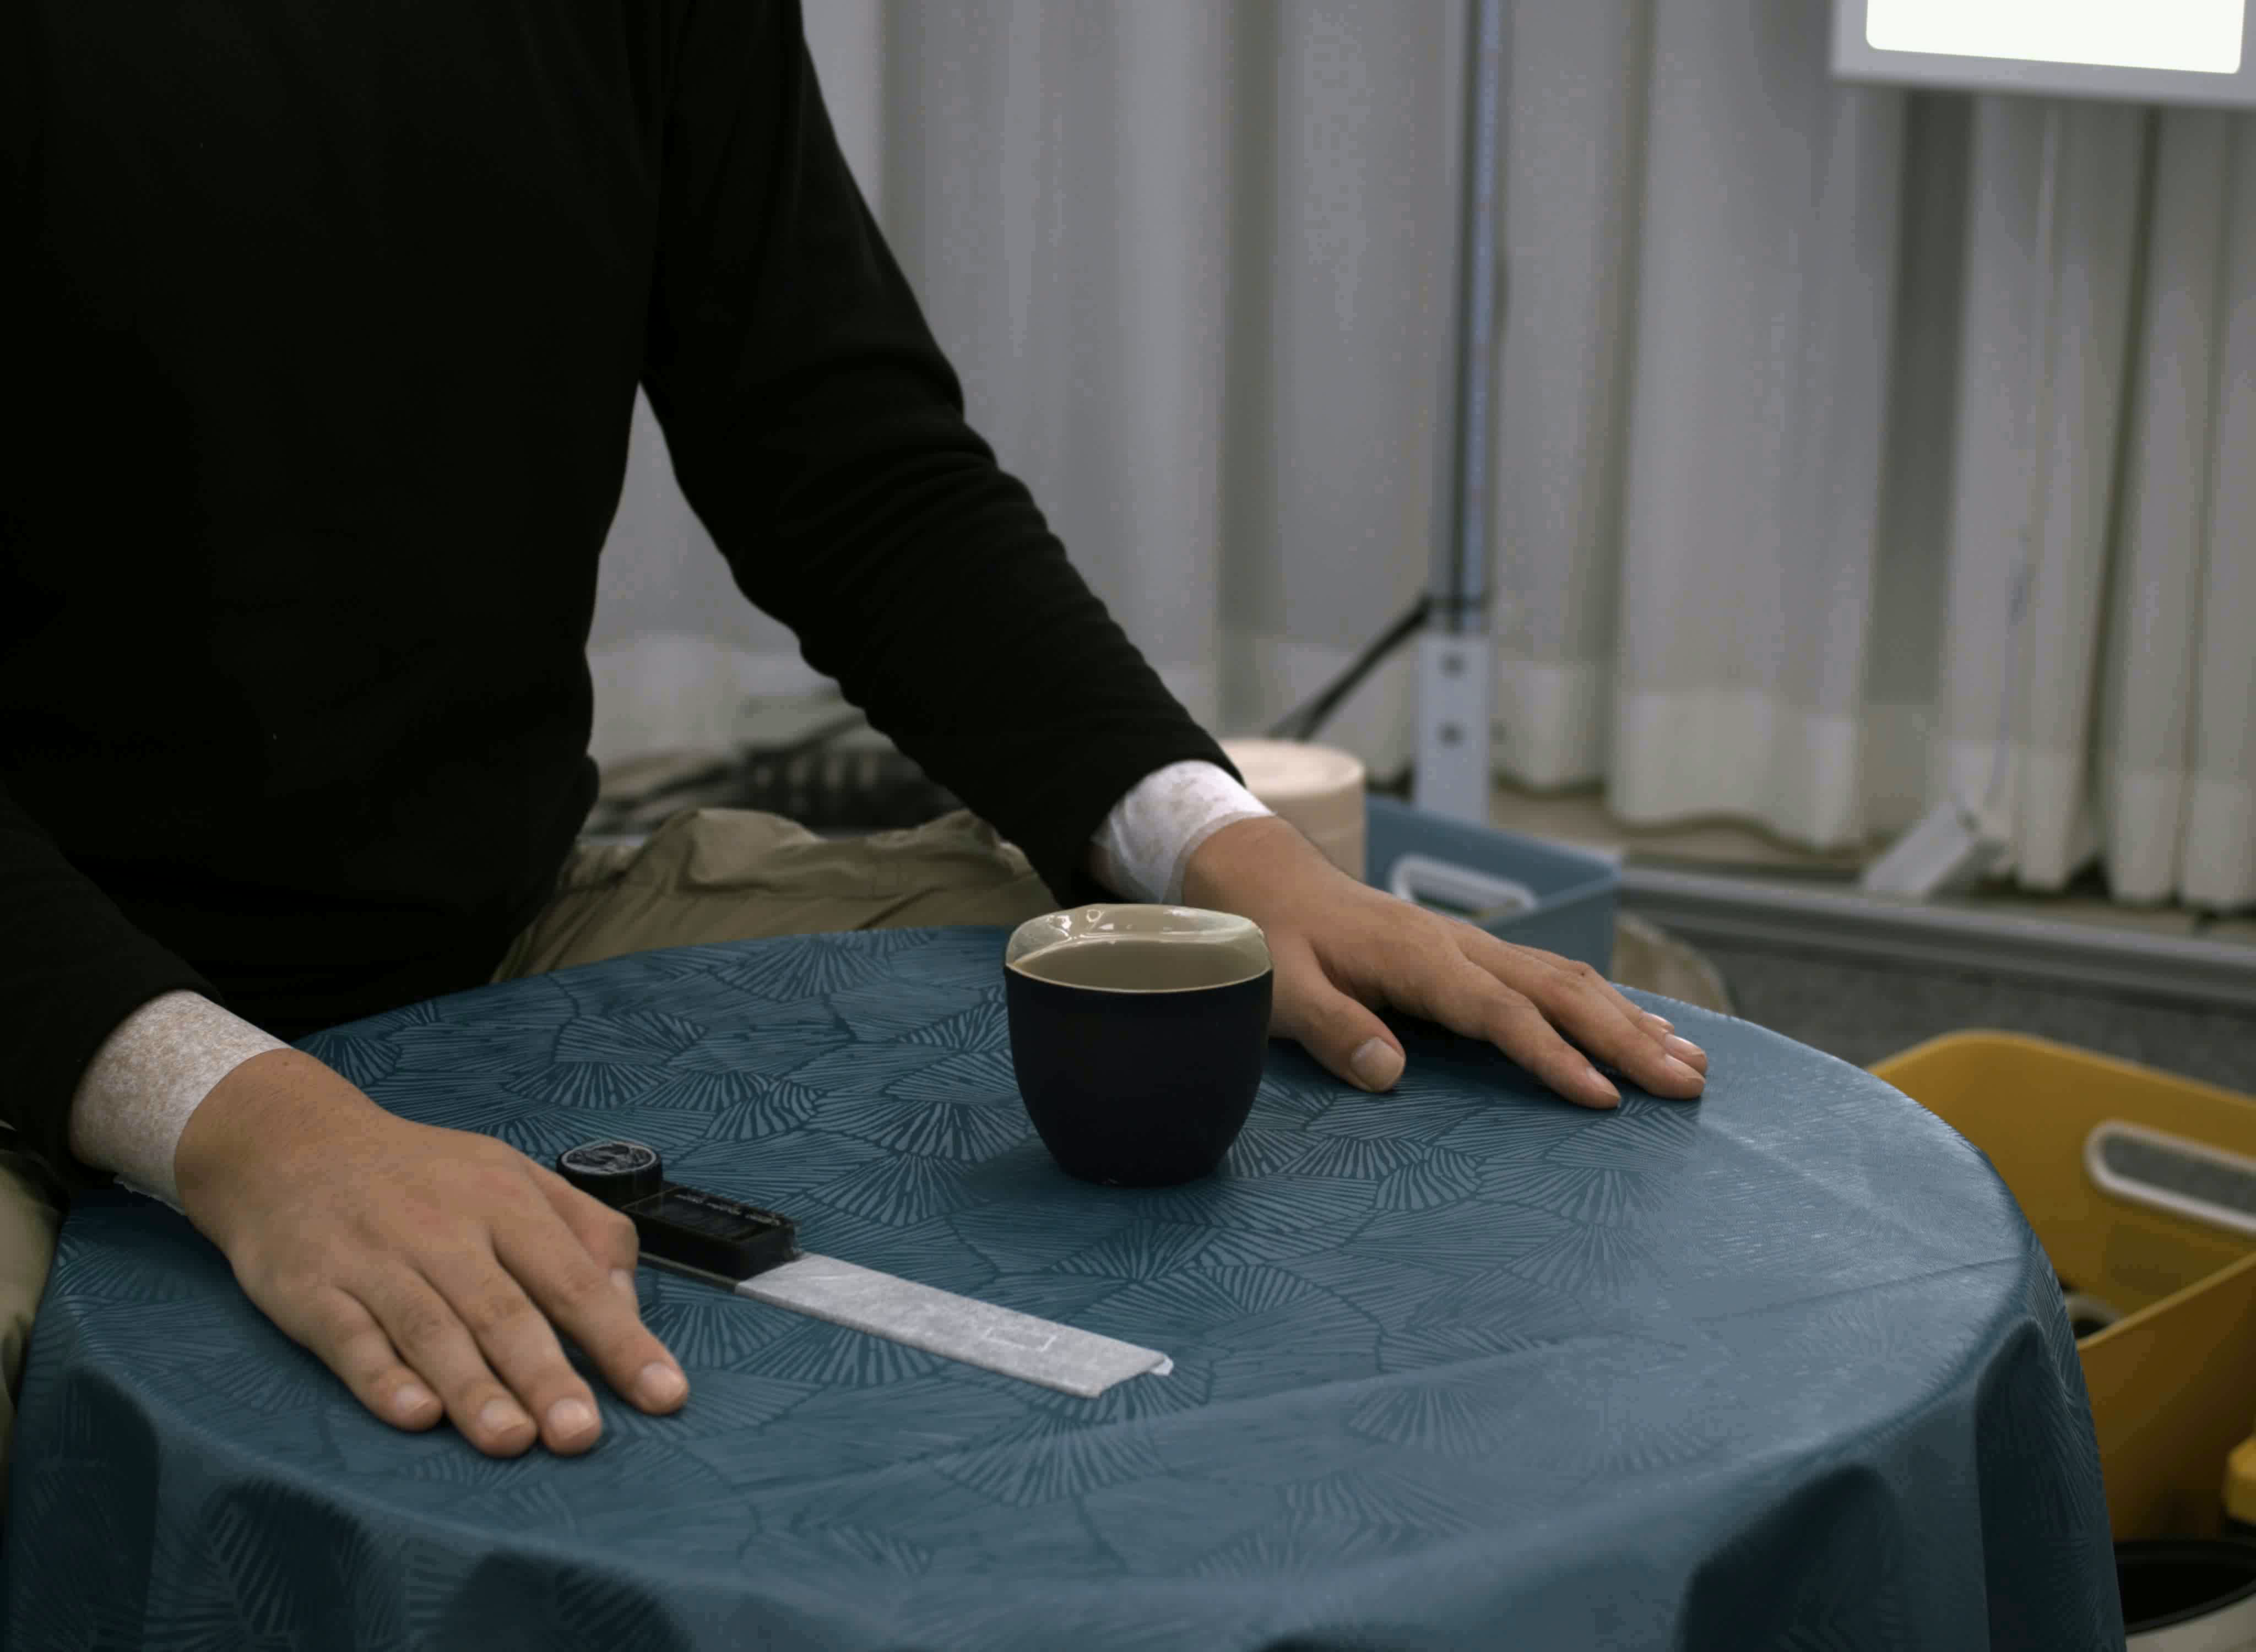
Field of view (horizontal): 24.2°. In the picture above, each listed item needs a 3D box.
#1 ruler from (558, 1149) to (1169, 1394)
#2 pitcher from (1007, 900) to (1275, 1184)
[{"bbox_3d":[-0.084,0.126,1.525,0.215,0.024,0.038,11,25,37],"label":"ruler"},{"bbox_3d":[0.001,0.069,1.641,0.084,0.072,0.095,-9,19,-28],"label":"pitcher"}]
